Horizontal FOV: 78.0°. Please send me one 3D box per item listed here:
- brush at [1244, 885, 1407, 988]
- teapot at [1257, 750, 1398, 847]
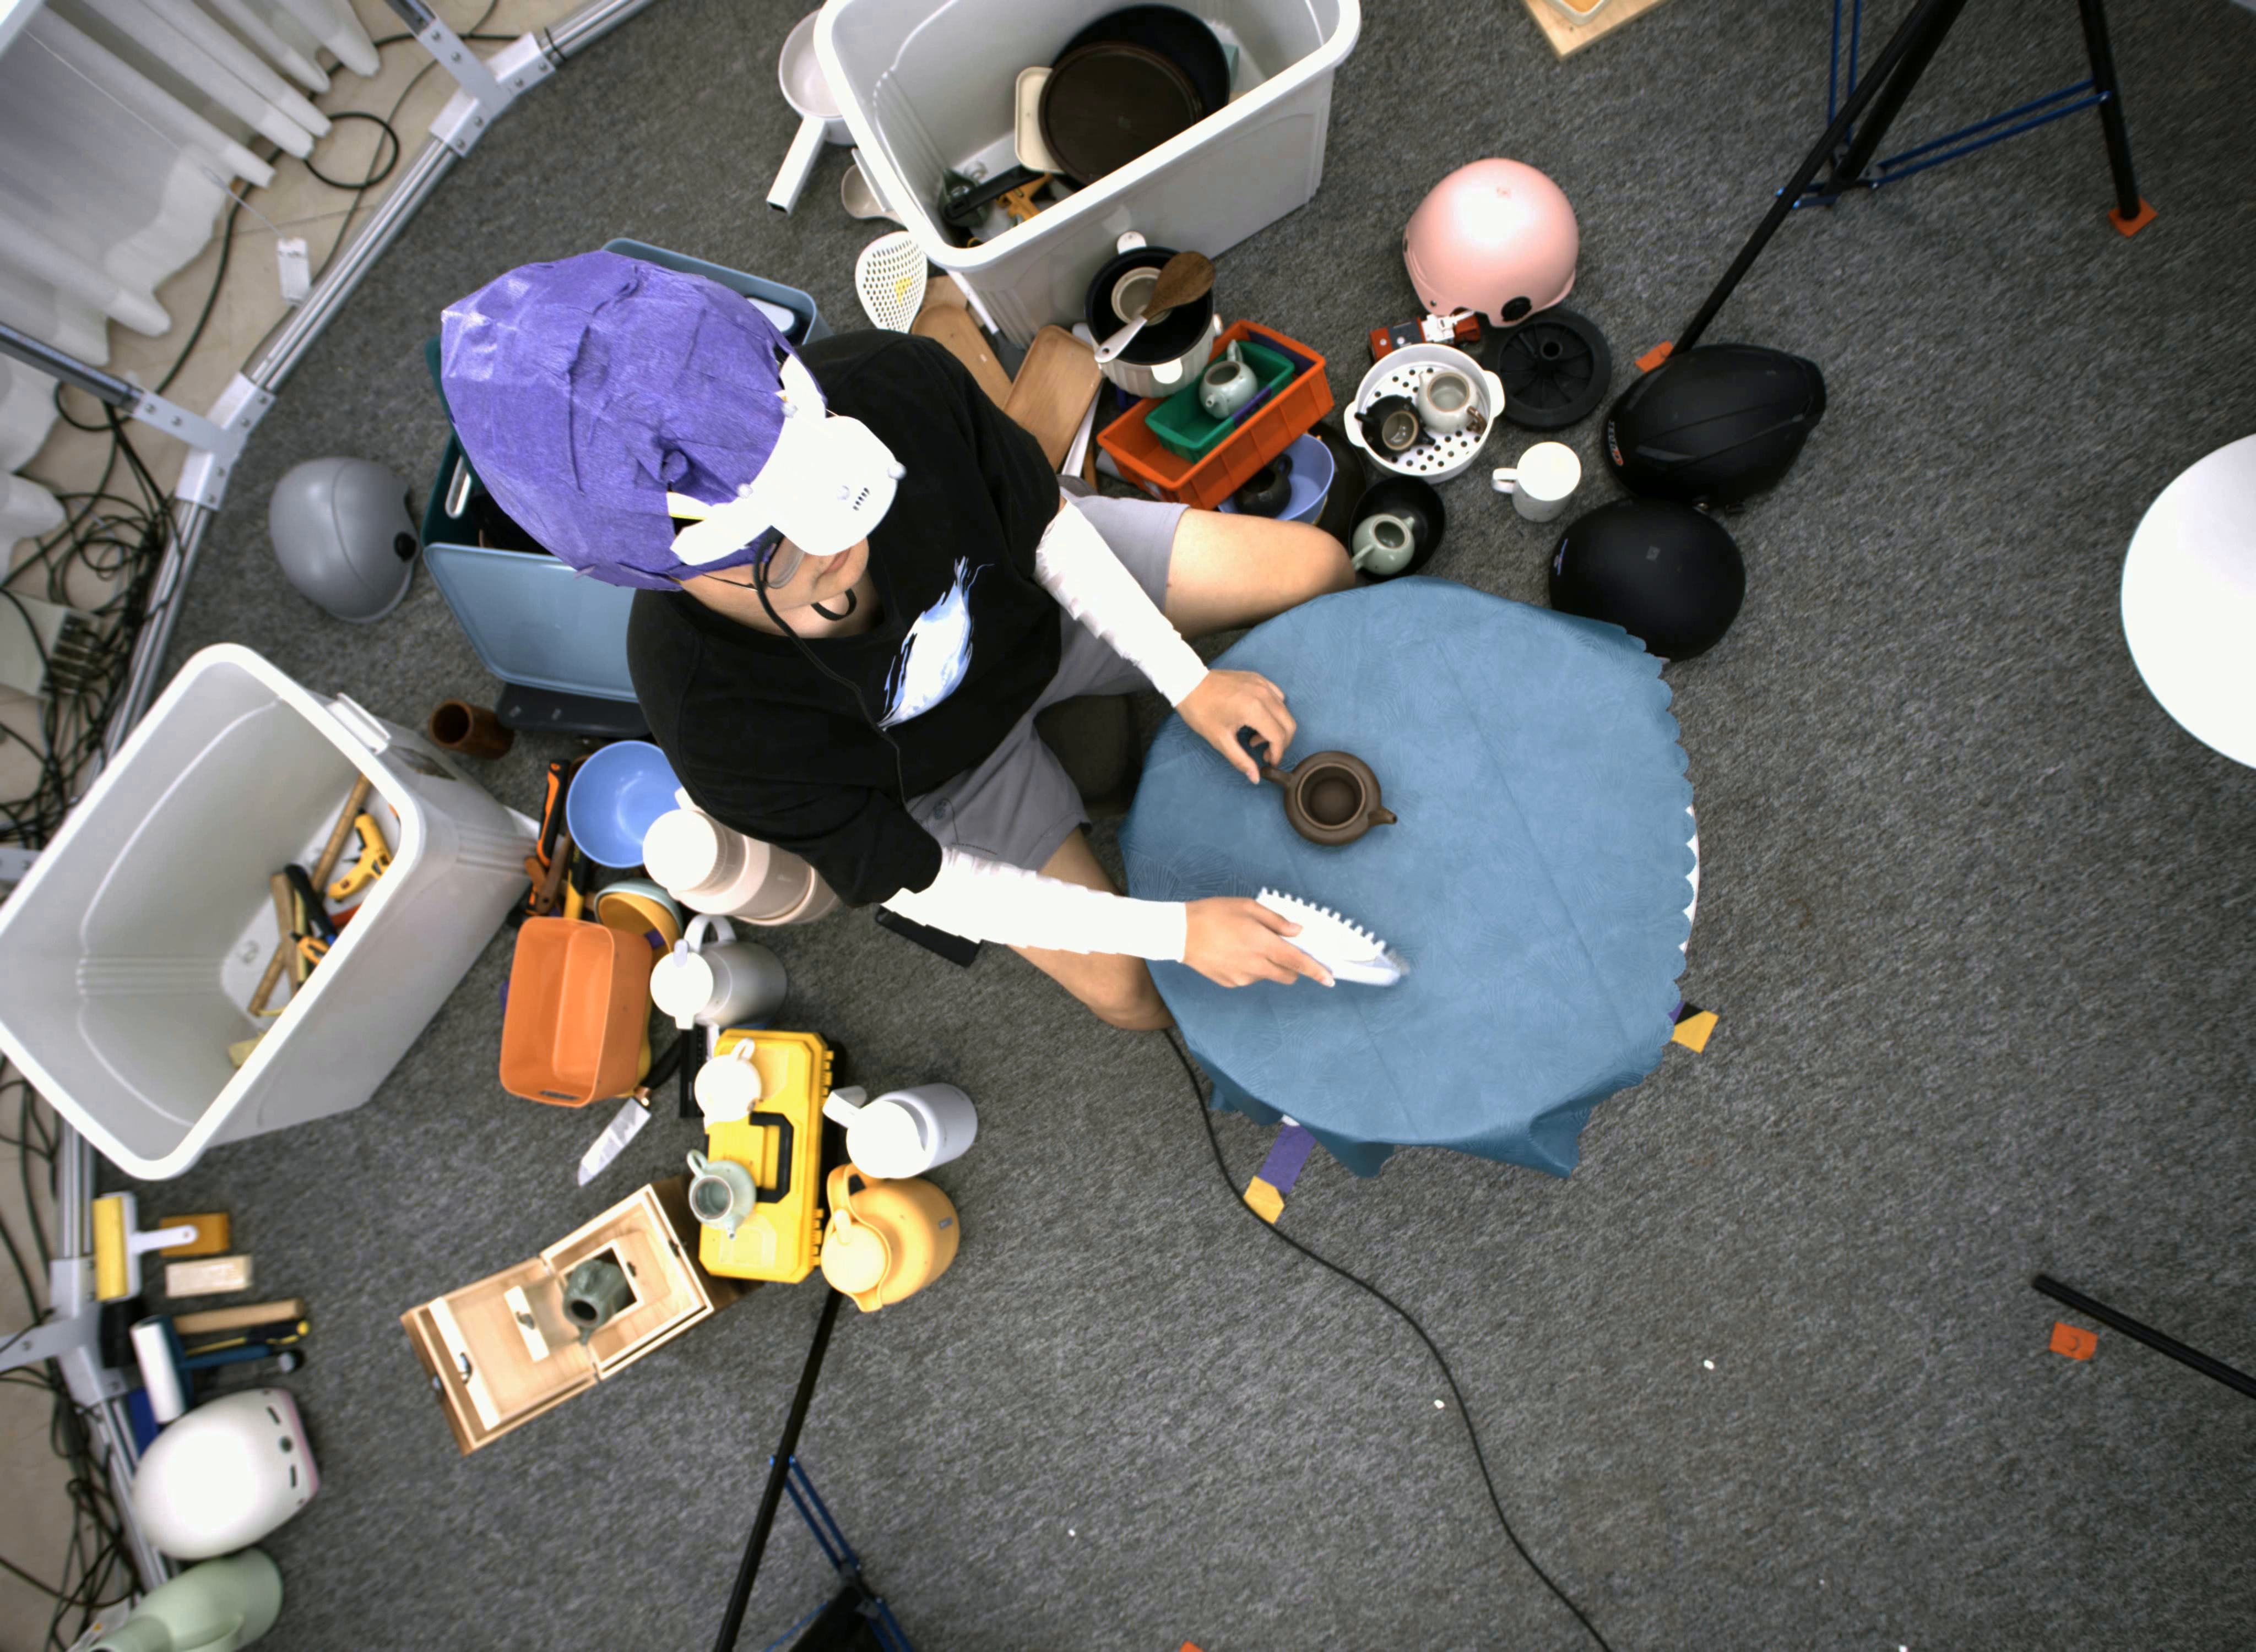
[{"bbox_3d":[0.200,0.125,1.416,0.175,0.092,0.062,24,111,8],"label":"brush"},{"bbox_3d":[0.209,-0.031,1.448,0.153,0.054,0.102,16,88,11],"label":"teapot"}]
